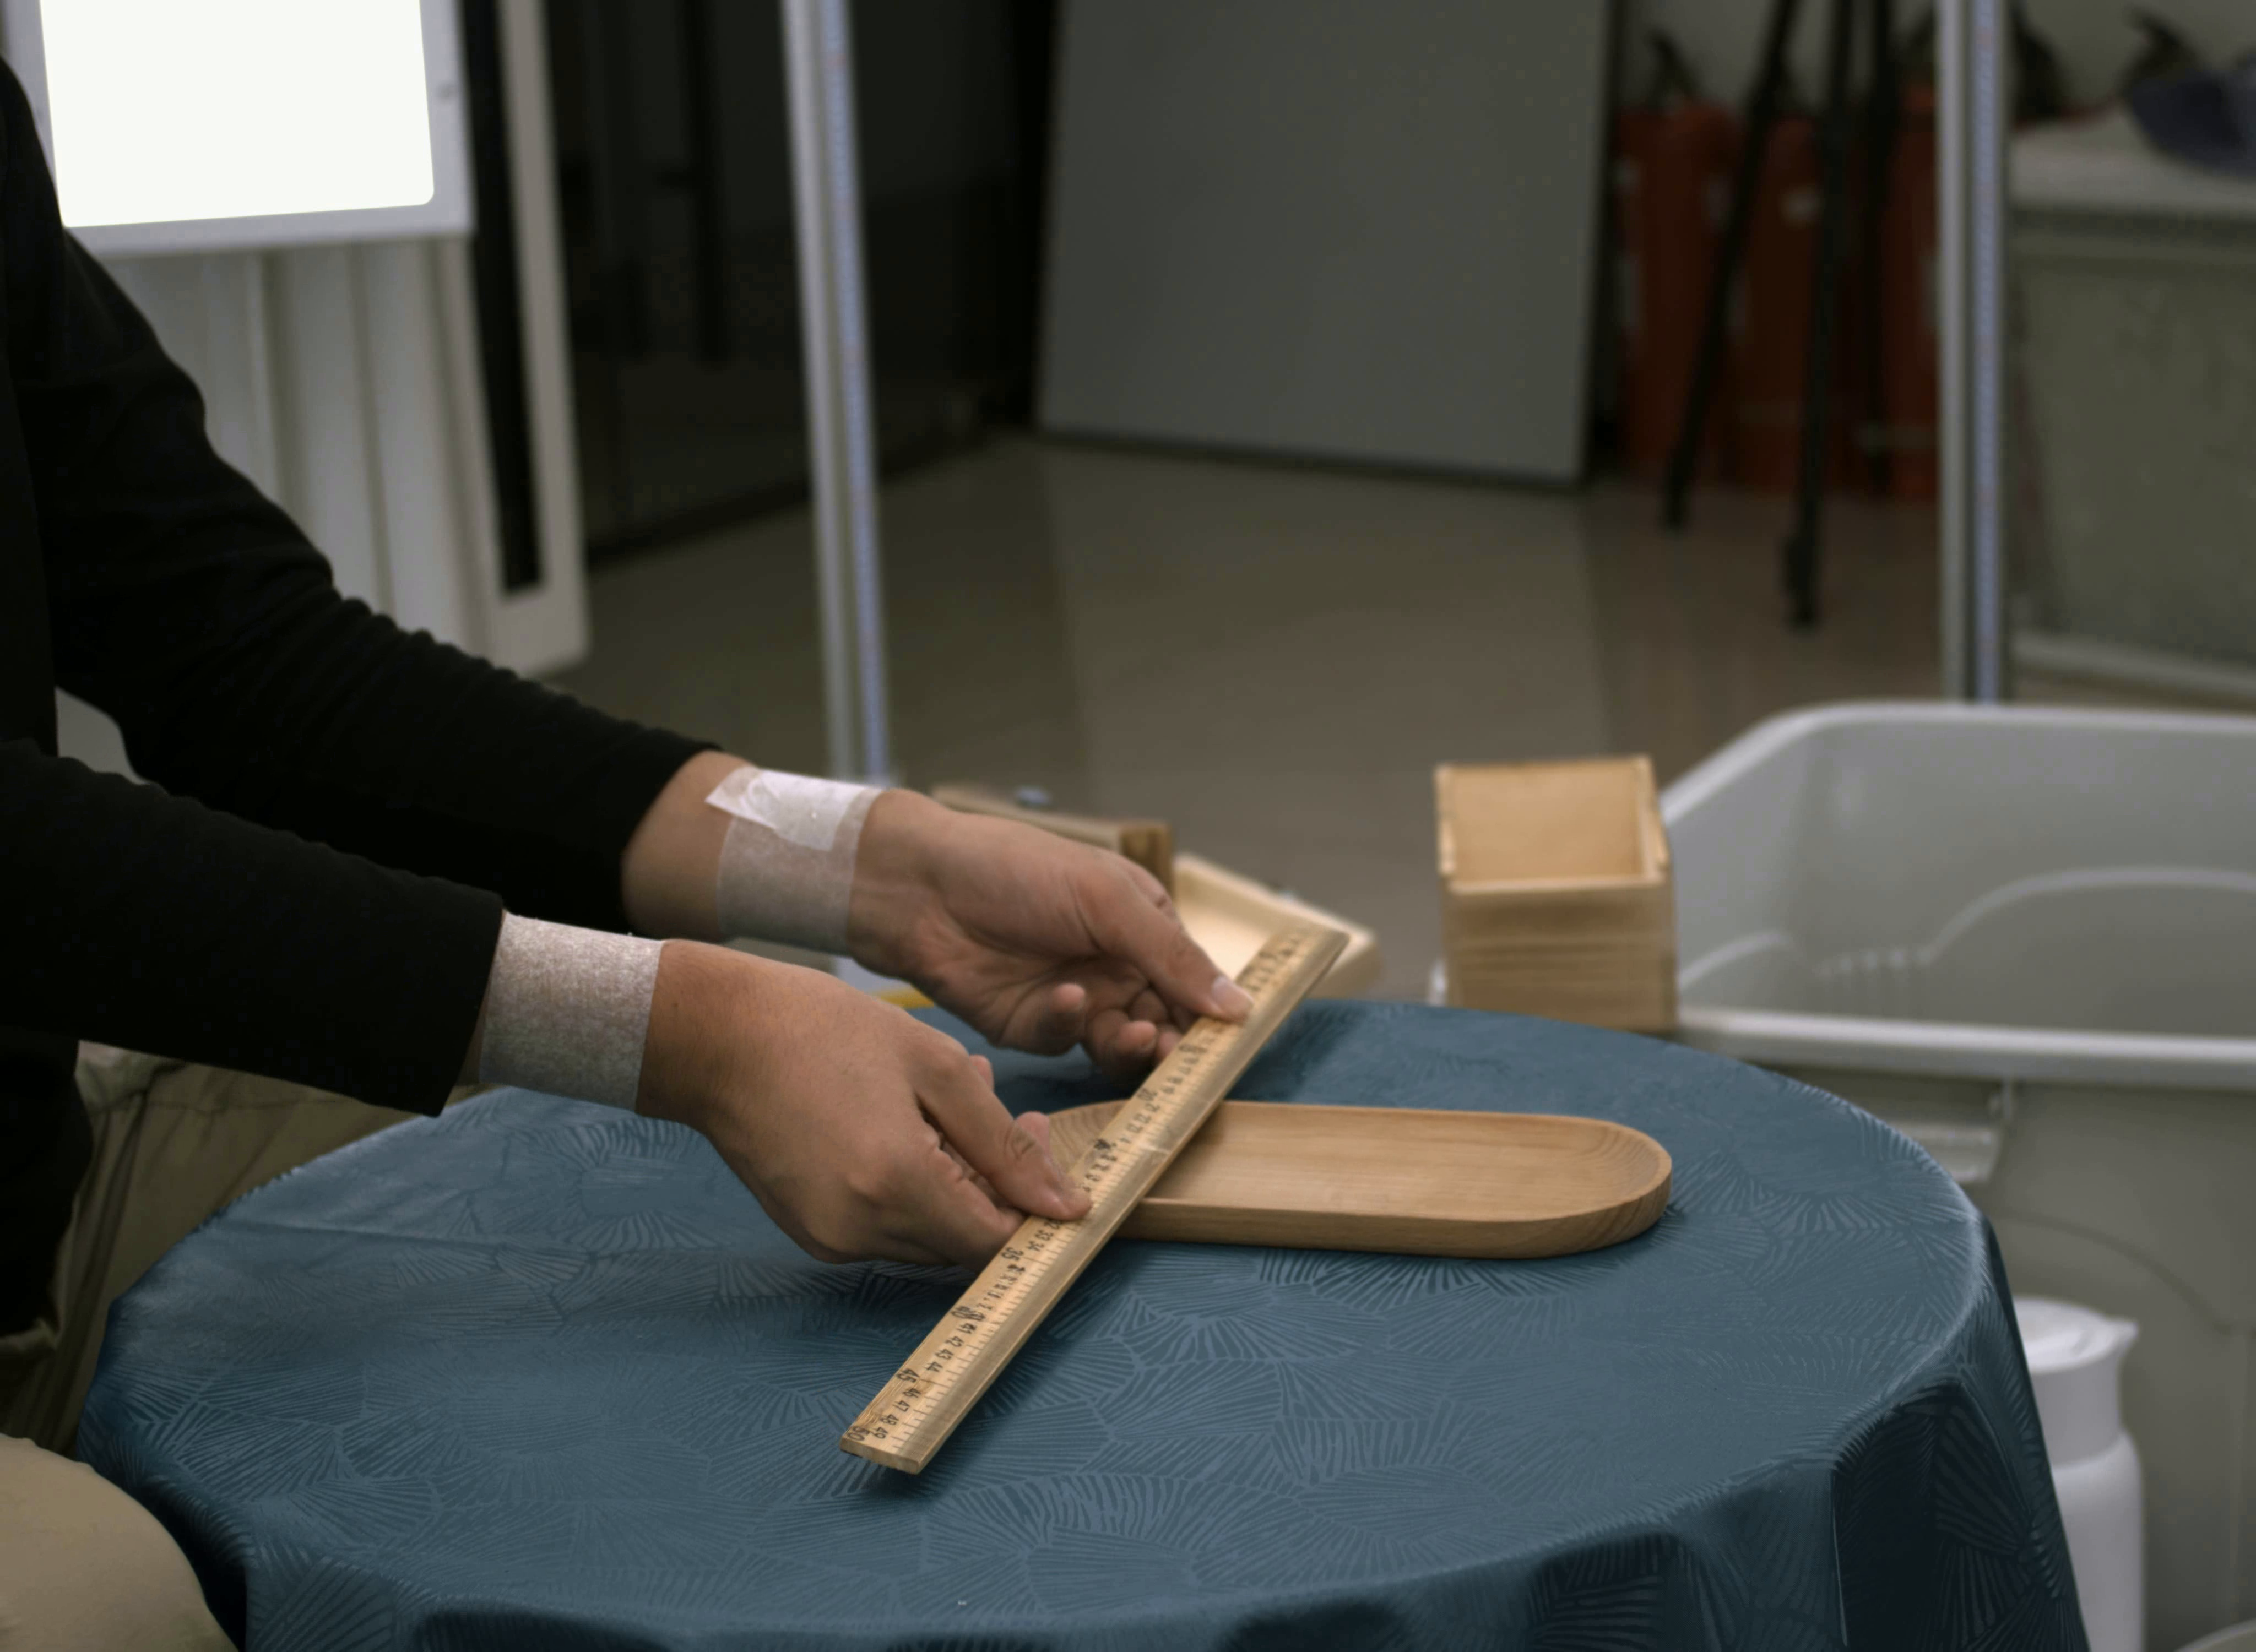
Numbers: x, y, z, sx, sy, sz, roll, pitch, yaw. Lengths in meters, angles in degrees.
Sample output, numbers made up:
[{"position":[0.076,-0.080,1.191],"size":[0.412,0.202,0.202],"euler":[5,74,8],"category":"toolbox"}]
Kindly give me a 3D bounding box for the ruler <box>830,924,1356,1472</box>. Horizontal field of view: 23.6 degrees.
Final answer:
[{"position":[-0.001,0.108,1.738],"size":[0.027,0.006,0.496],"euler":[16,20,13],"category":"ruler"}]

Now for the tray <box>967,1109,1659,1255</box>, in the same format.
[{"position":[0.059,0.115,1.741],"size":[0.231,0.020,0.101],"euler":[-1,14,19],"category":"tray"}]
